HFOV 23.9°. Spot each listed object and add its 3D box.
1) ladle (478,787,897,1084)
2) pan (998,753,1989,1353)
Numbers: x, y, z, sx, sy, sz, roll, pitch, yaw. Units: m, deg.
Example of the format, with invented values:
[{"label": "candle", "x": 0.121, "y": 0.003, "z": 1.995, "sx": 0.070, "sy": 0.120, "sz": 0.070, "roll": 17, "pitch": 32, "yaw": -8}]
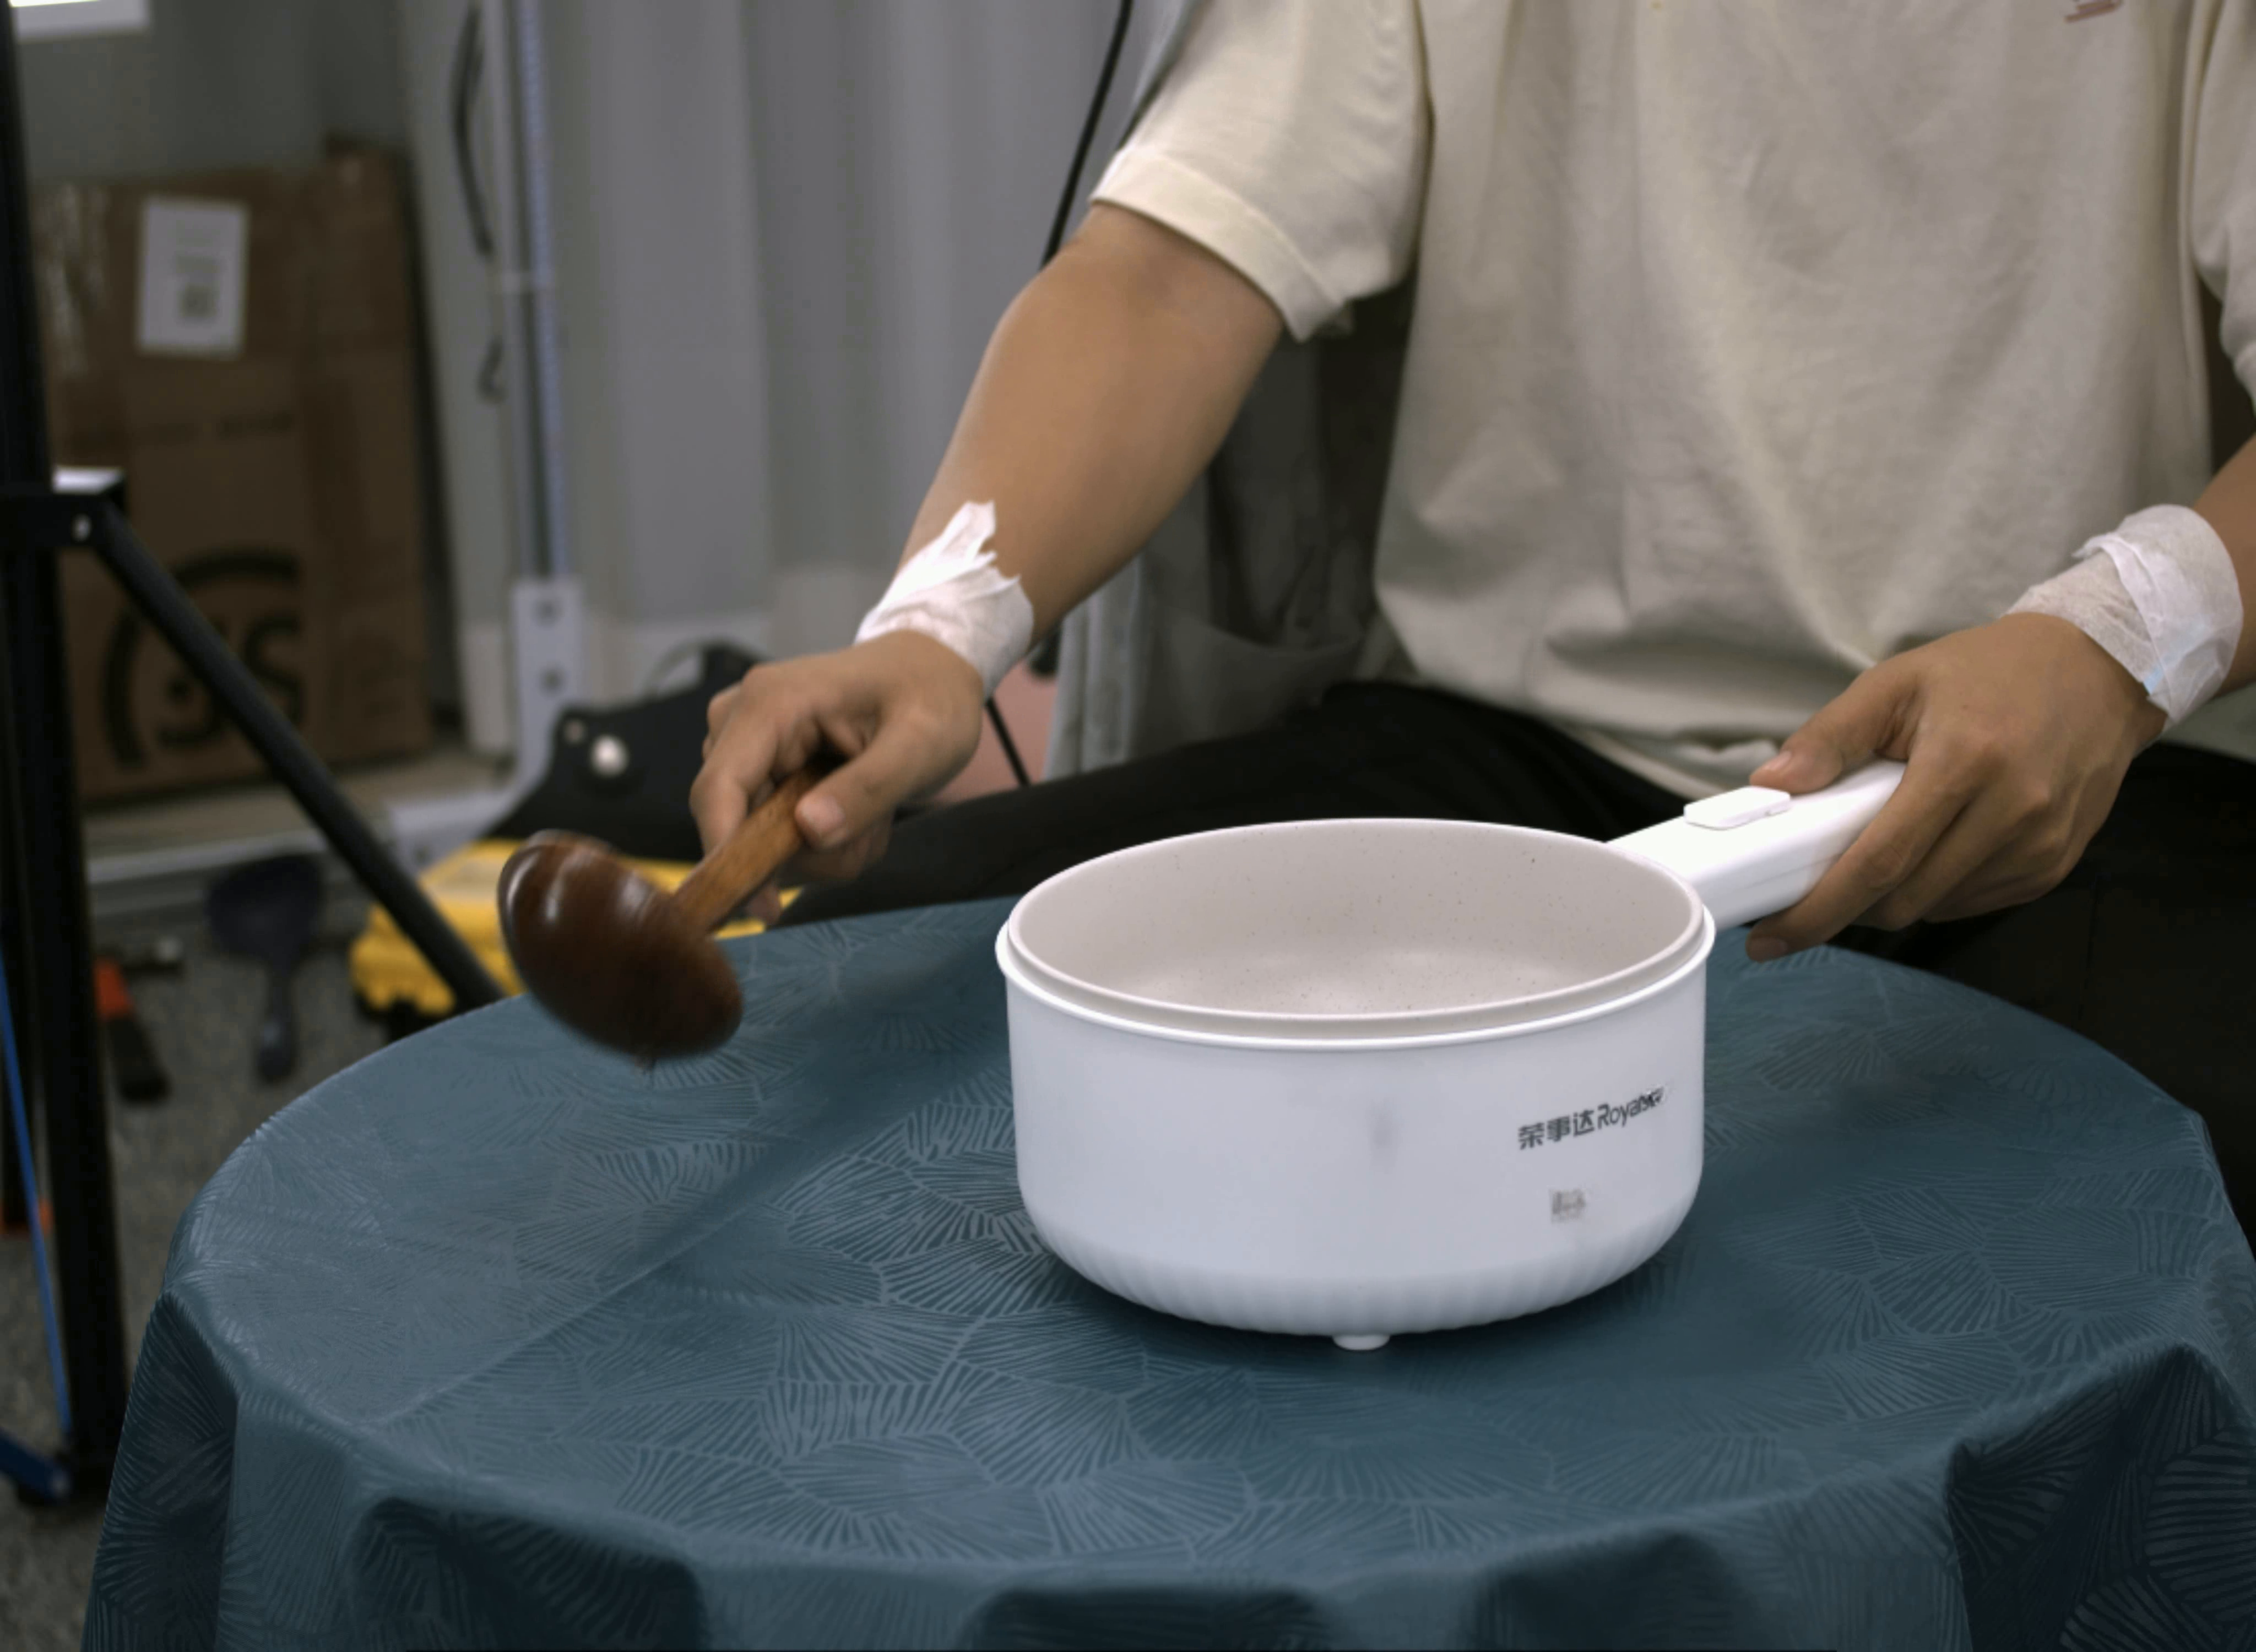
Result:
[{"label": "ladle", "x": -0.115, "y": 0.011, "z": 1.600, "sx": 0.082, "sy": 0.077, "sz": 0.270, "roll": 46, "pitch": 27, "yaw": 3}, {"label": "pan", "x": 0.121, "y": 0.059, "z": 1.534, "sx": 0.346, "sy": 0.102, "sz": 0.206, "roll": -14, "pitch": 18, "yaw": -39}]
